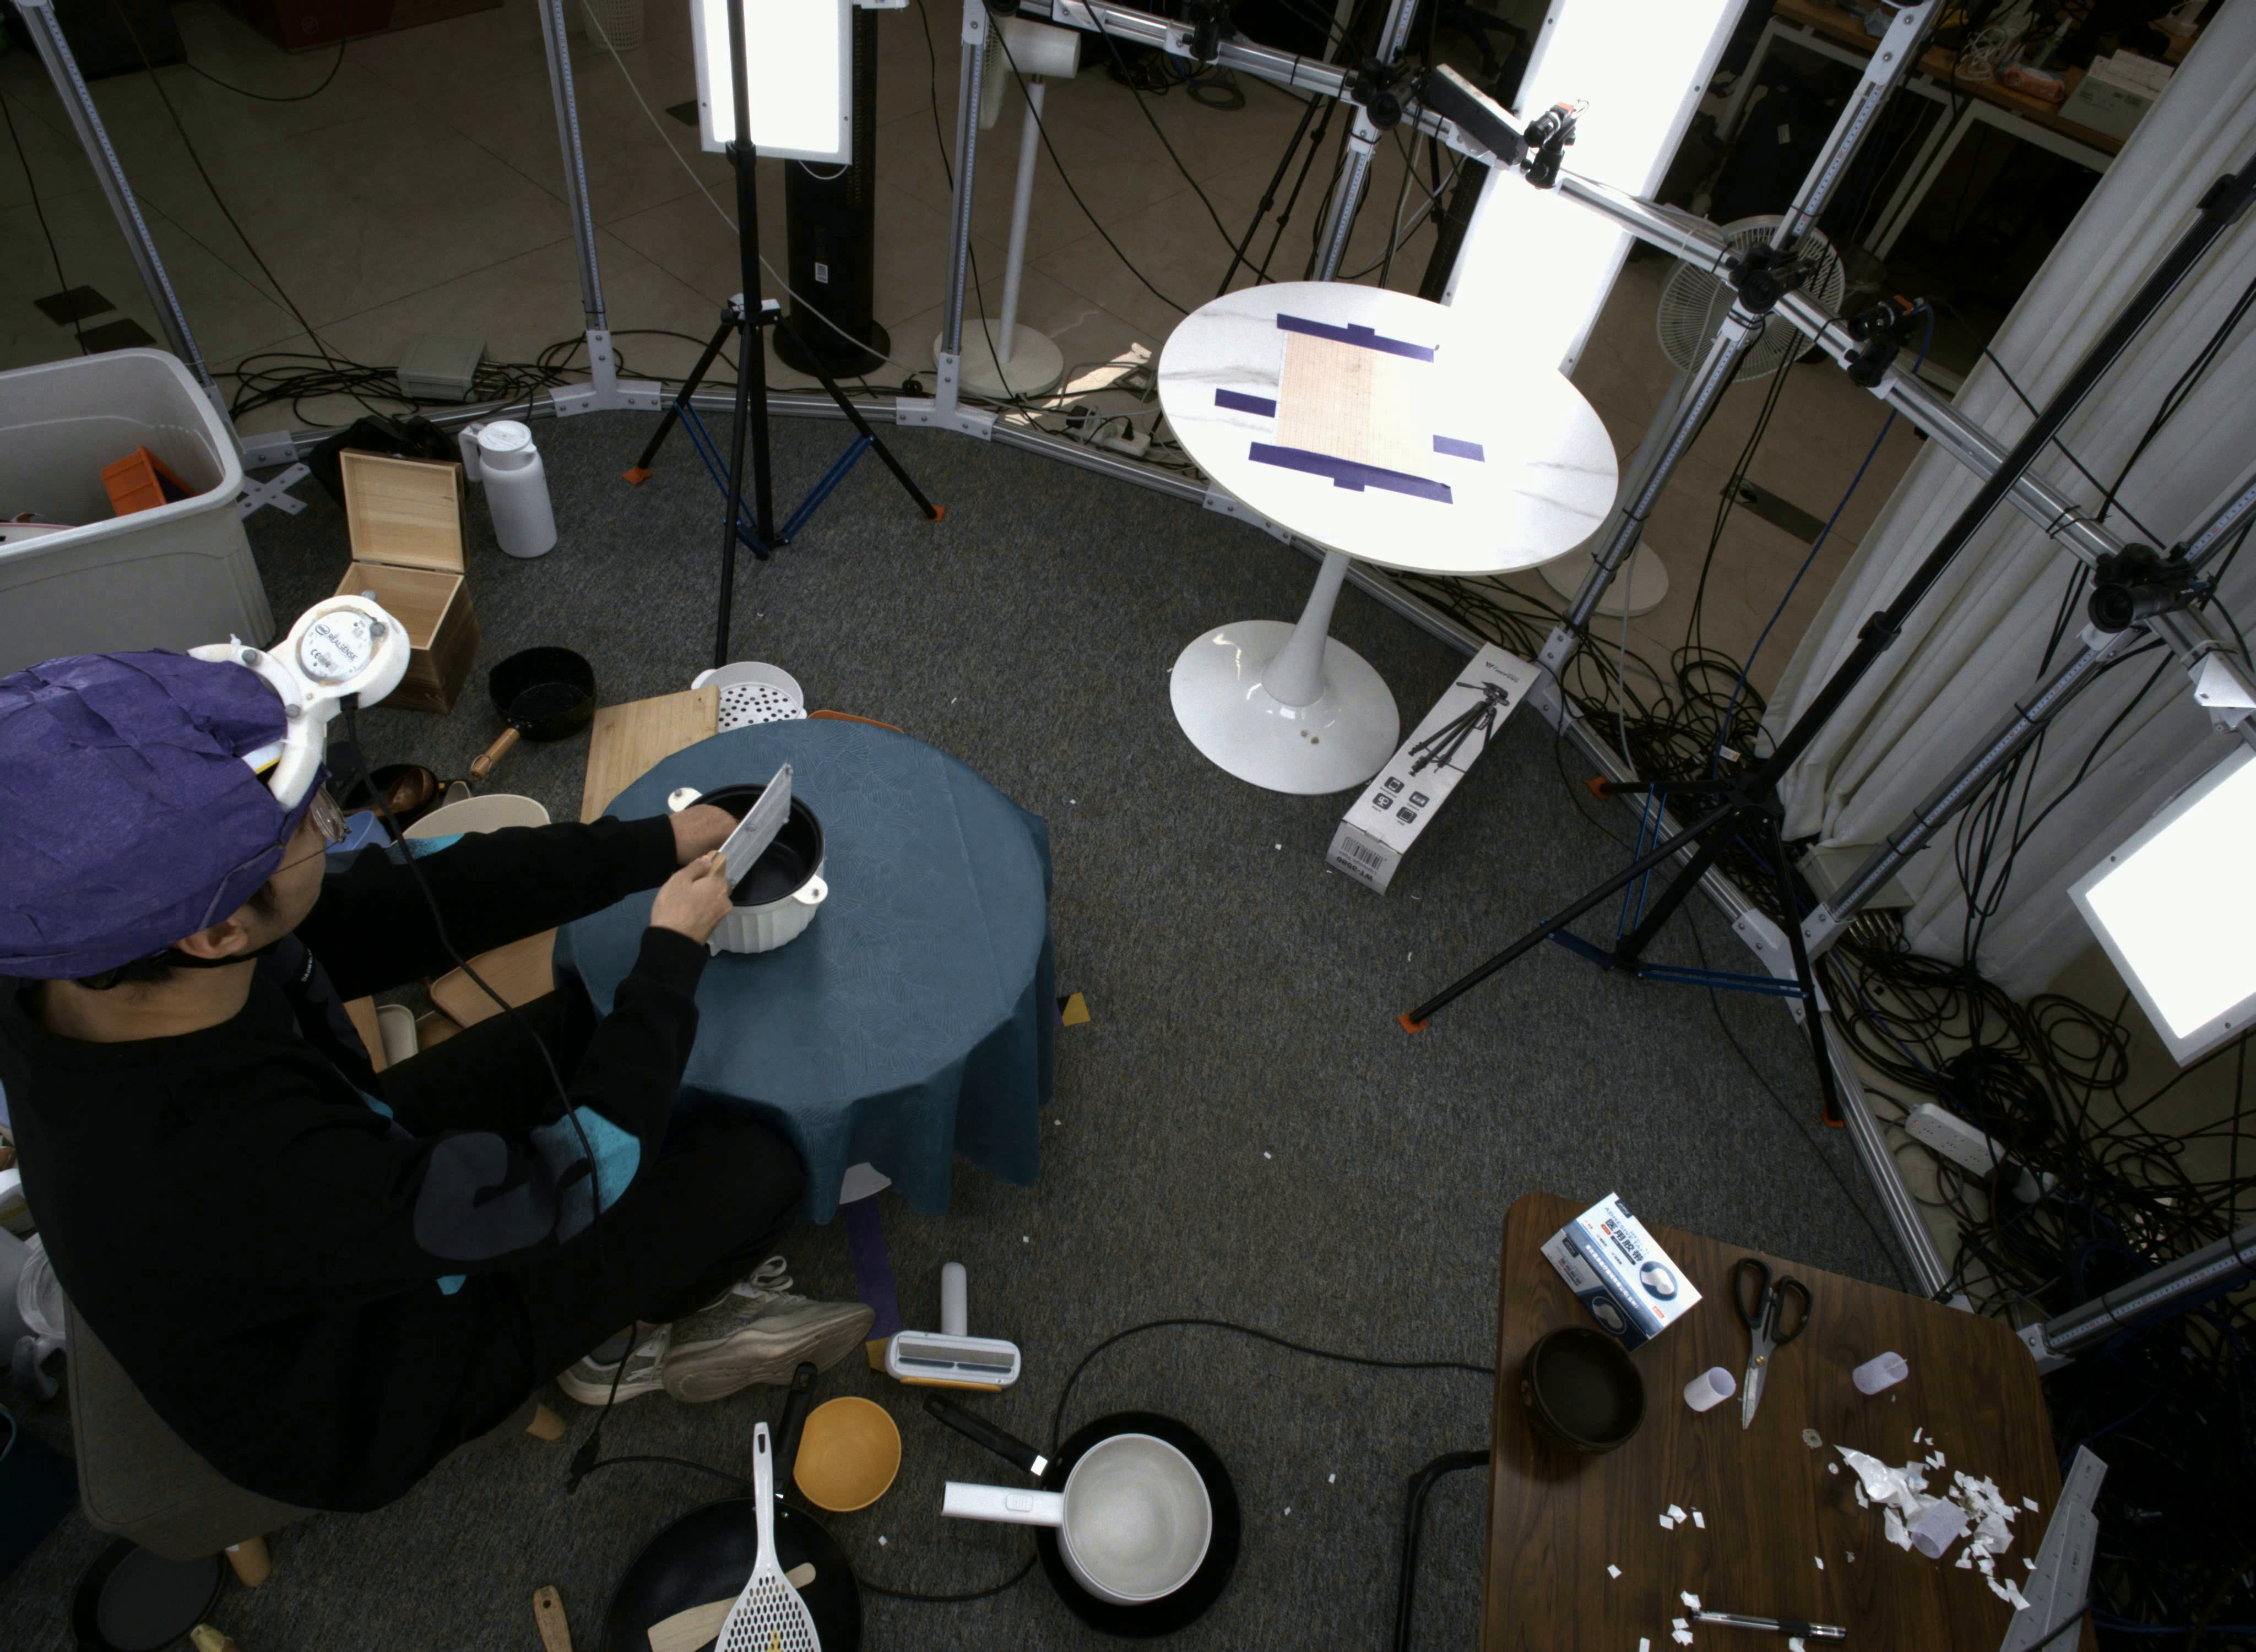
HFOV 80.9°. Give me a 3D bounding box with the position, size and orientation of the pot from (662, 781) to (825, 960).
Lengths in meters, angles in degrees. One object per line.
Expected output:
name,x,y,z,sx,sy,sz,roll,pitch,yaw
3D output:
pot,-0.462,0.054,1.573,0.236,0.145,0.190,33,56,10

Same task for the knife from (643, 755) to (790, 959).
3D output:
knife,-0.441,0.033,1.411,0.021,0.117,0.312,18,37,5
